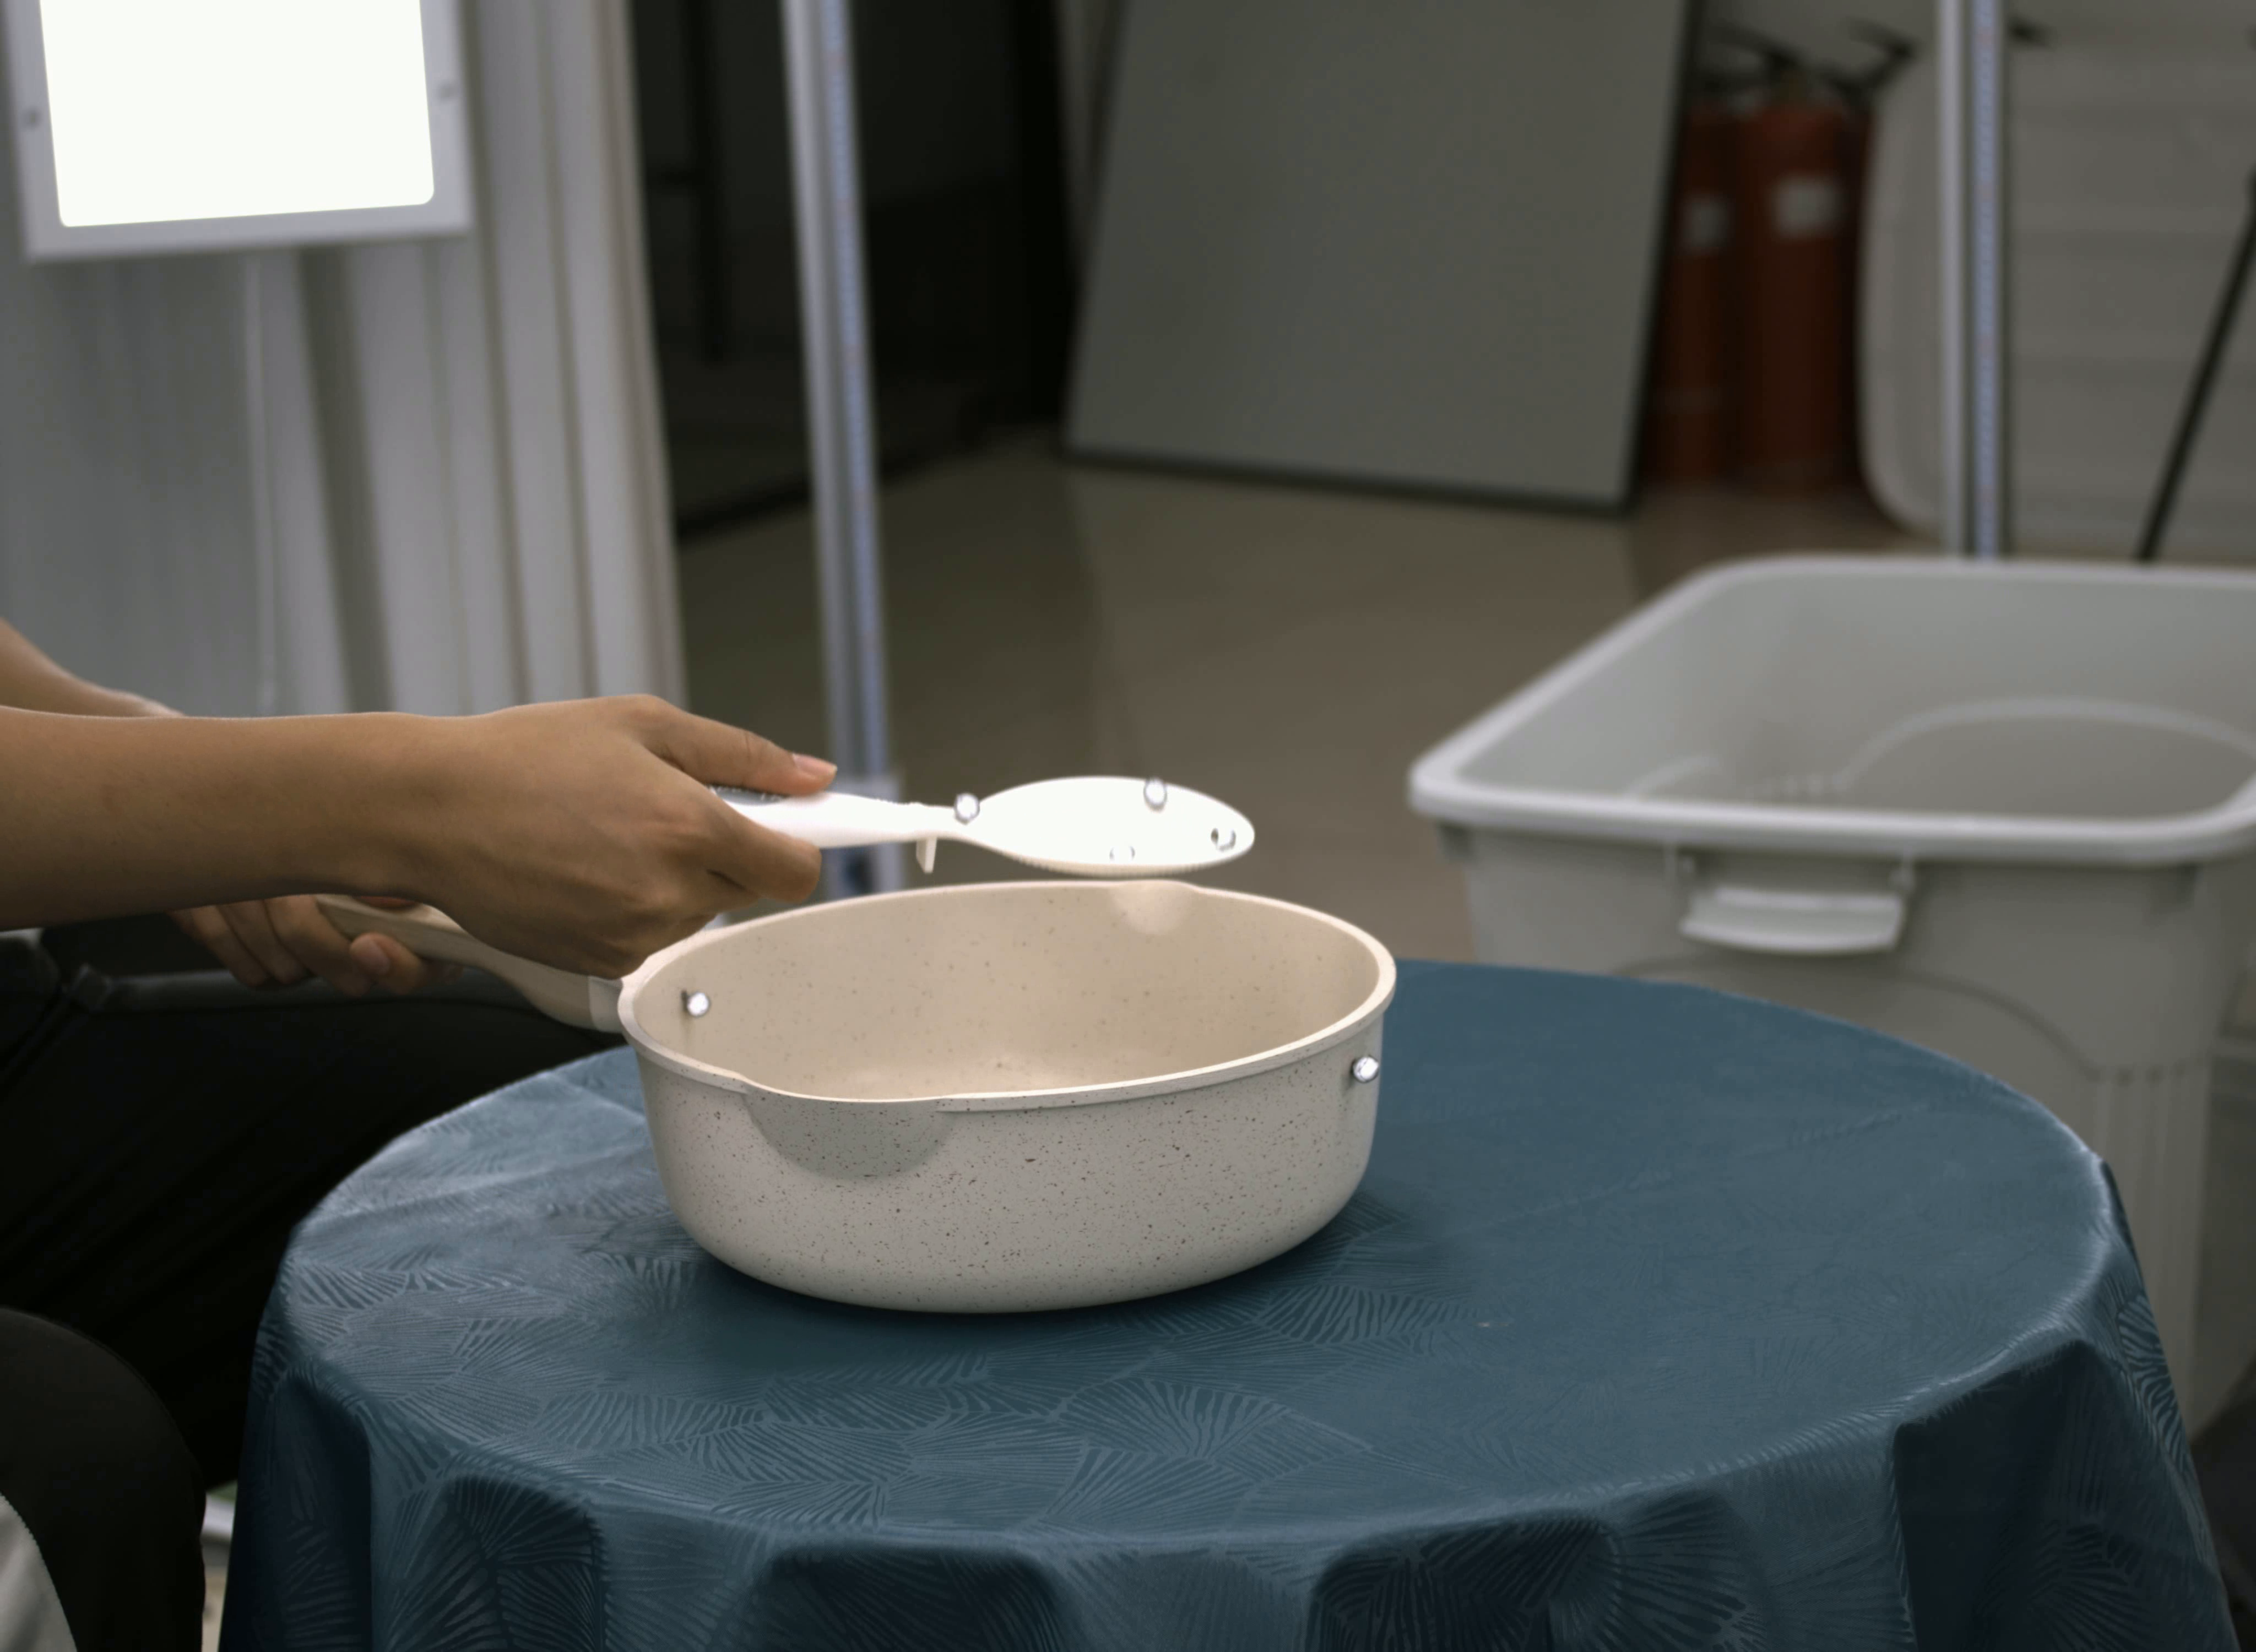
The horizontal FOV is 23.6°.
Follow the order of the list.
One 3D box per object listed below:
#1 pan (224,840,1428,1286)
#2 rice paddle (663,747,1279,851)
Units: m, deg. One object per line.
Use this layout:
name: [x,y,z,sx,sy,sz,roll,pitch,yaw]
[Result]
pan: [-0.107,0.069,1.794,0.435,0.103,0.260,2,17,25]
rice paddle: [-0.047,-0.010,1.730,0.201,0.030,0.069,-1,25,-17]
